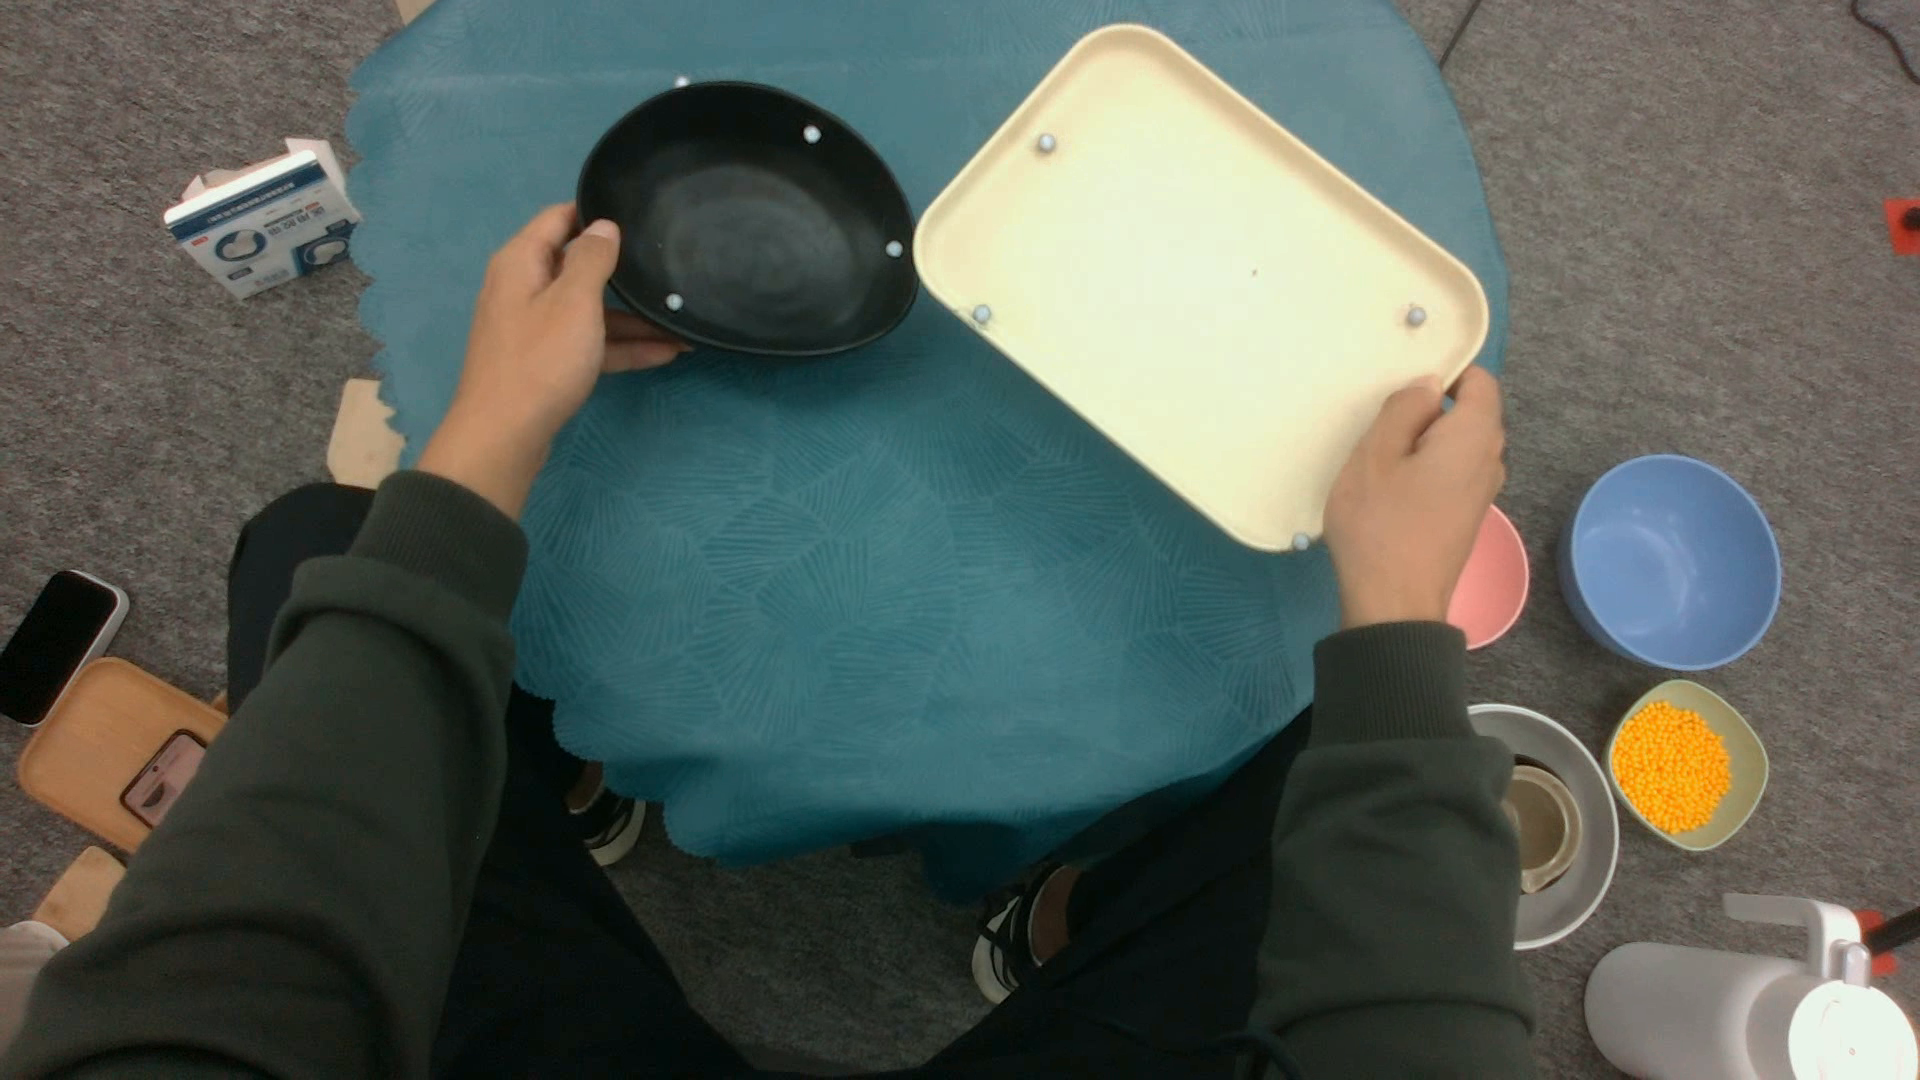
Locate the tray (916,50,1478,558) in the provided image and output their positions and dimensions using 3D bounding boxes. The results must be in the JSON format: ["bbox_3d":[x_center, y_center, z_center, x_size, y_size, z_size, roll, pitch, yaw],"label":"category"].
[{"bbox_3d":[0.112,-0.116,0.659,0.240,0.017,0.171,39,81,8],"label":"tray"}]

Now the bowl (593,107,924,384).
[{"bbox_3d":[-0.101,-0.143,0.709,0.170,0.066,0.137,20,77,-3],"label":"bowl"}]
